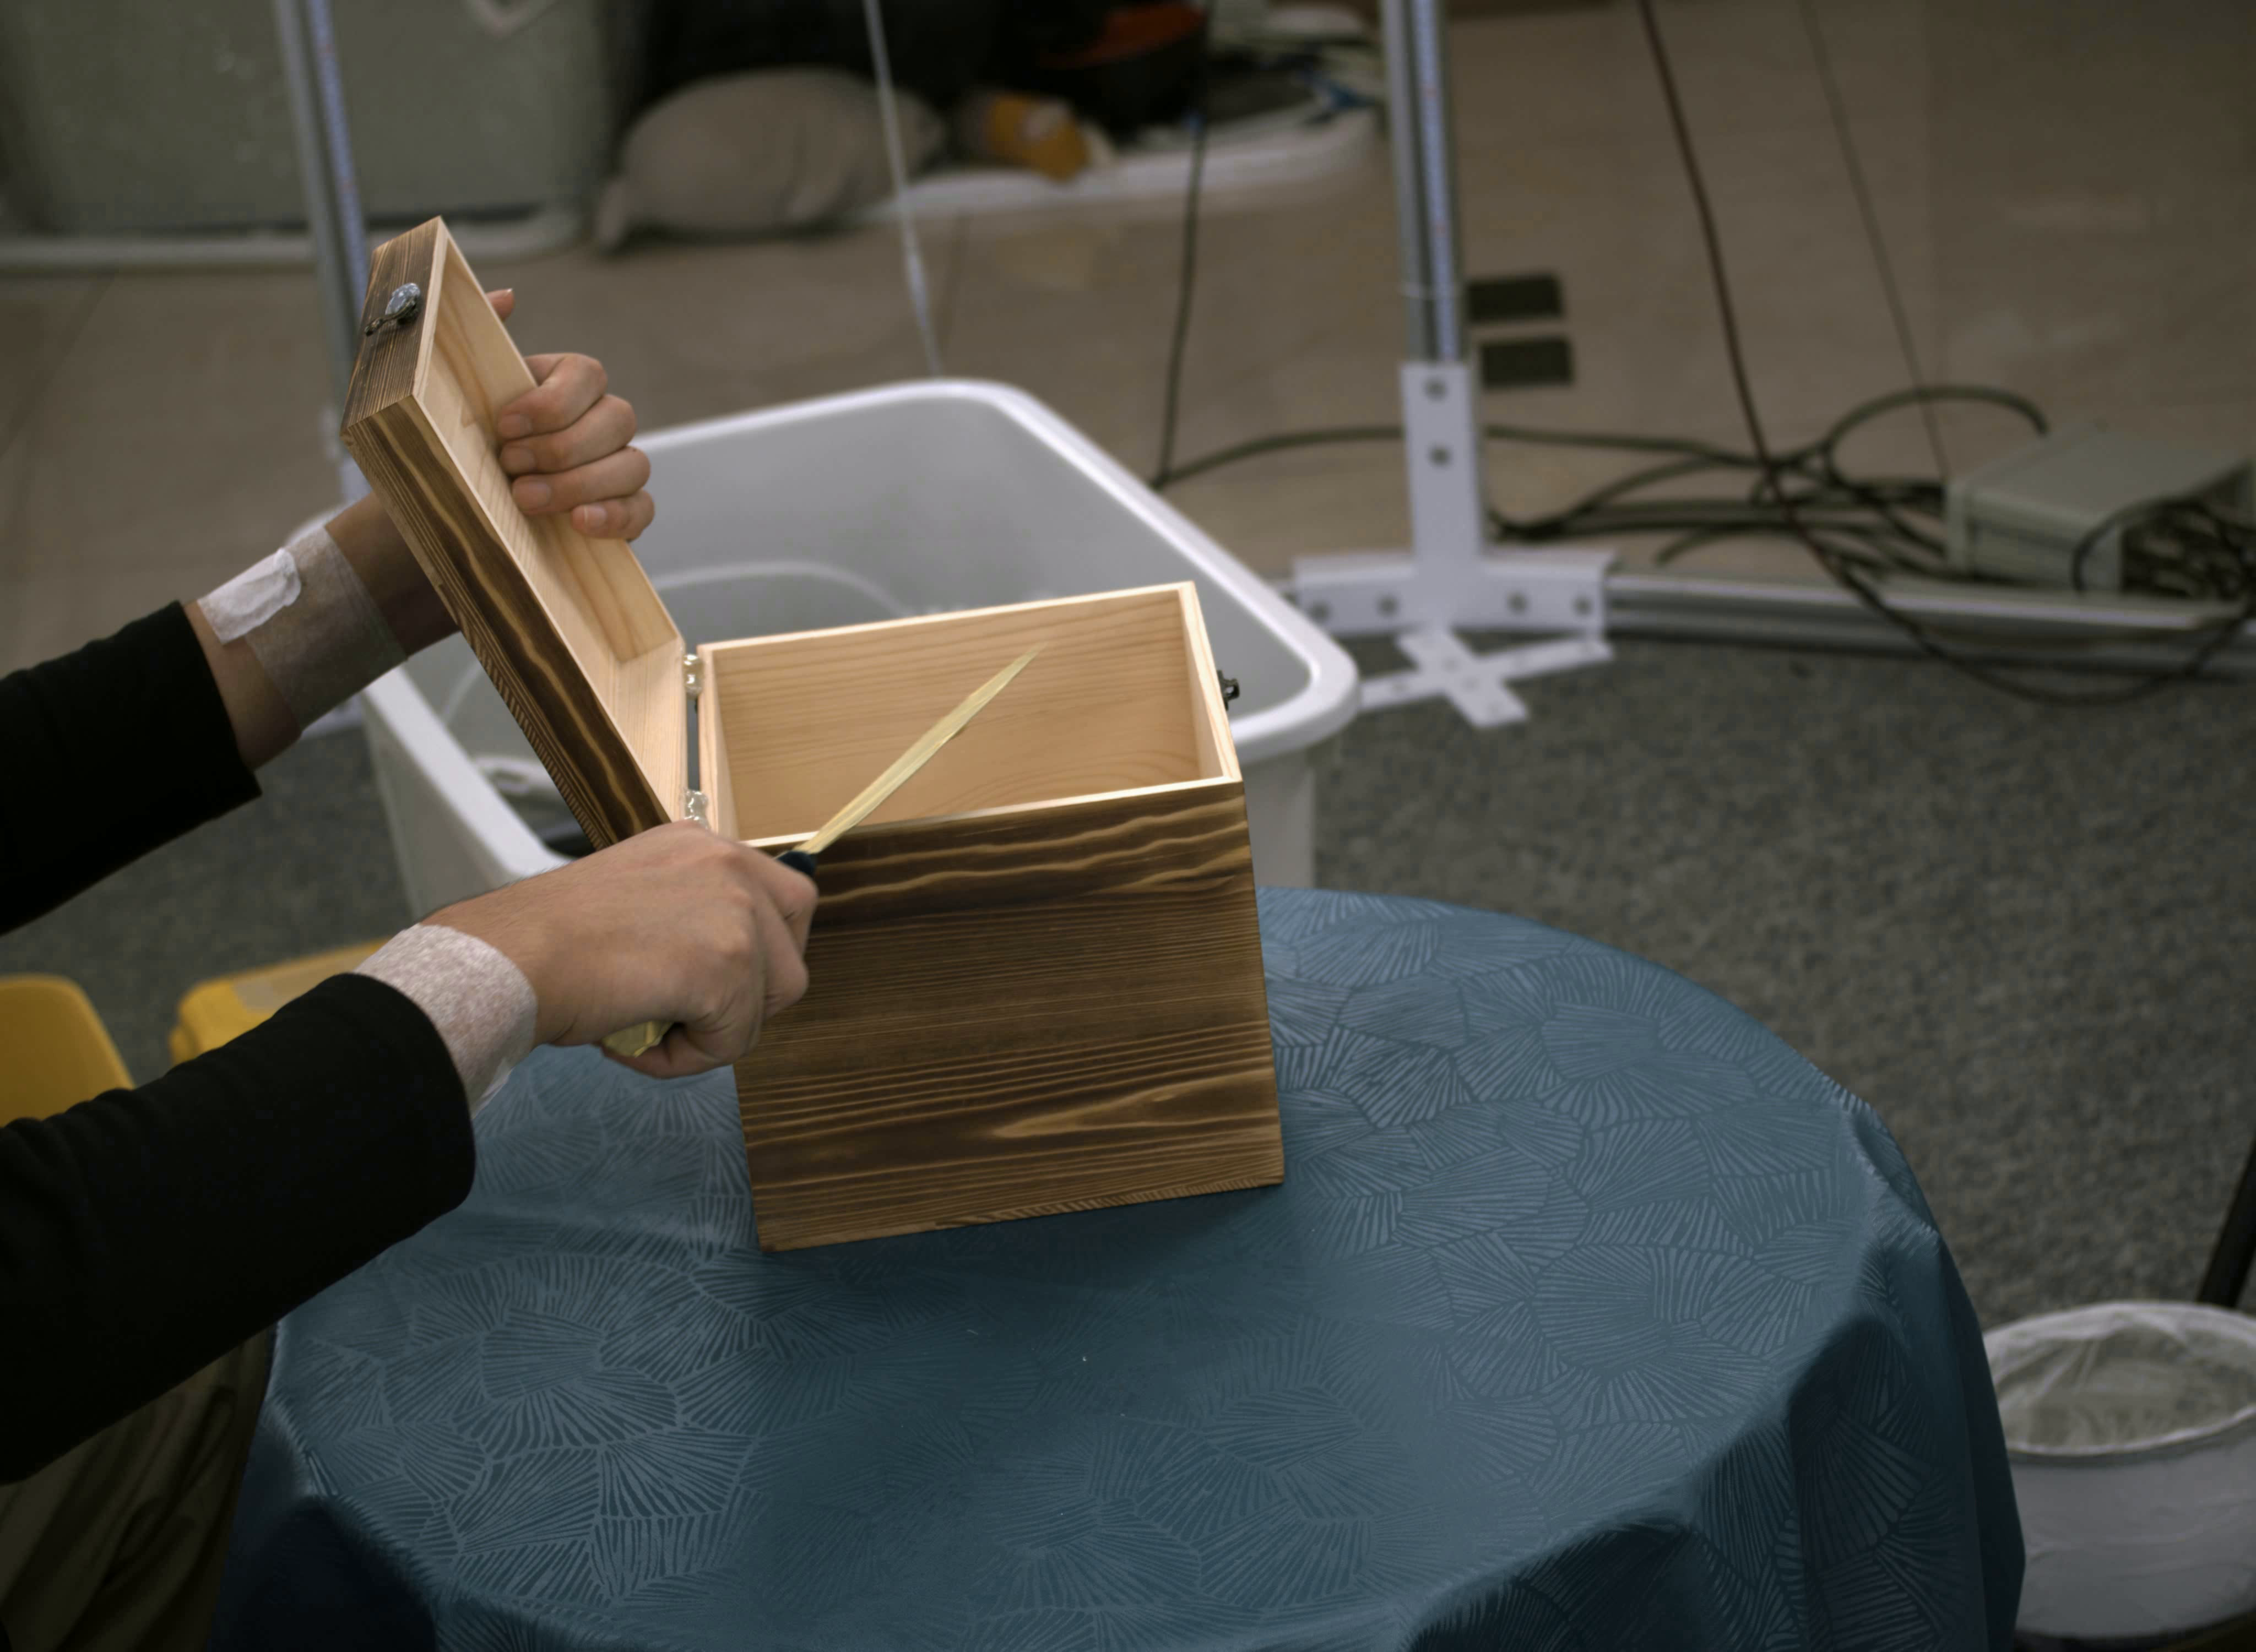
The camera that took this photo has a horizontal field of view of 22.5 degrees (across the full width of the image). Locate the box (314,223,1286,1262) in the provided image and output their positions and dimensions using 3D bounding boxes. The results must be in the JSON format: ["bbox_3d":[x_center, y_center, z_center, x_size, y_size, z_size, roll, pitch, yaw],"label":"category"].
[{"bbox_3d":[-0.117,-0.045,2.143,0.321,0.381,0.205,-9,27,-2],"label":"box"}]

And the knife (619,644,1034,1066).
[{"bbox_3d":[-0.101,0.003,2.012,0.082,0.027,0.285,-39,7,38],"label":"knife"}]
